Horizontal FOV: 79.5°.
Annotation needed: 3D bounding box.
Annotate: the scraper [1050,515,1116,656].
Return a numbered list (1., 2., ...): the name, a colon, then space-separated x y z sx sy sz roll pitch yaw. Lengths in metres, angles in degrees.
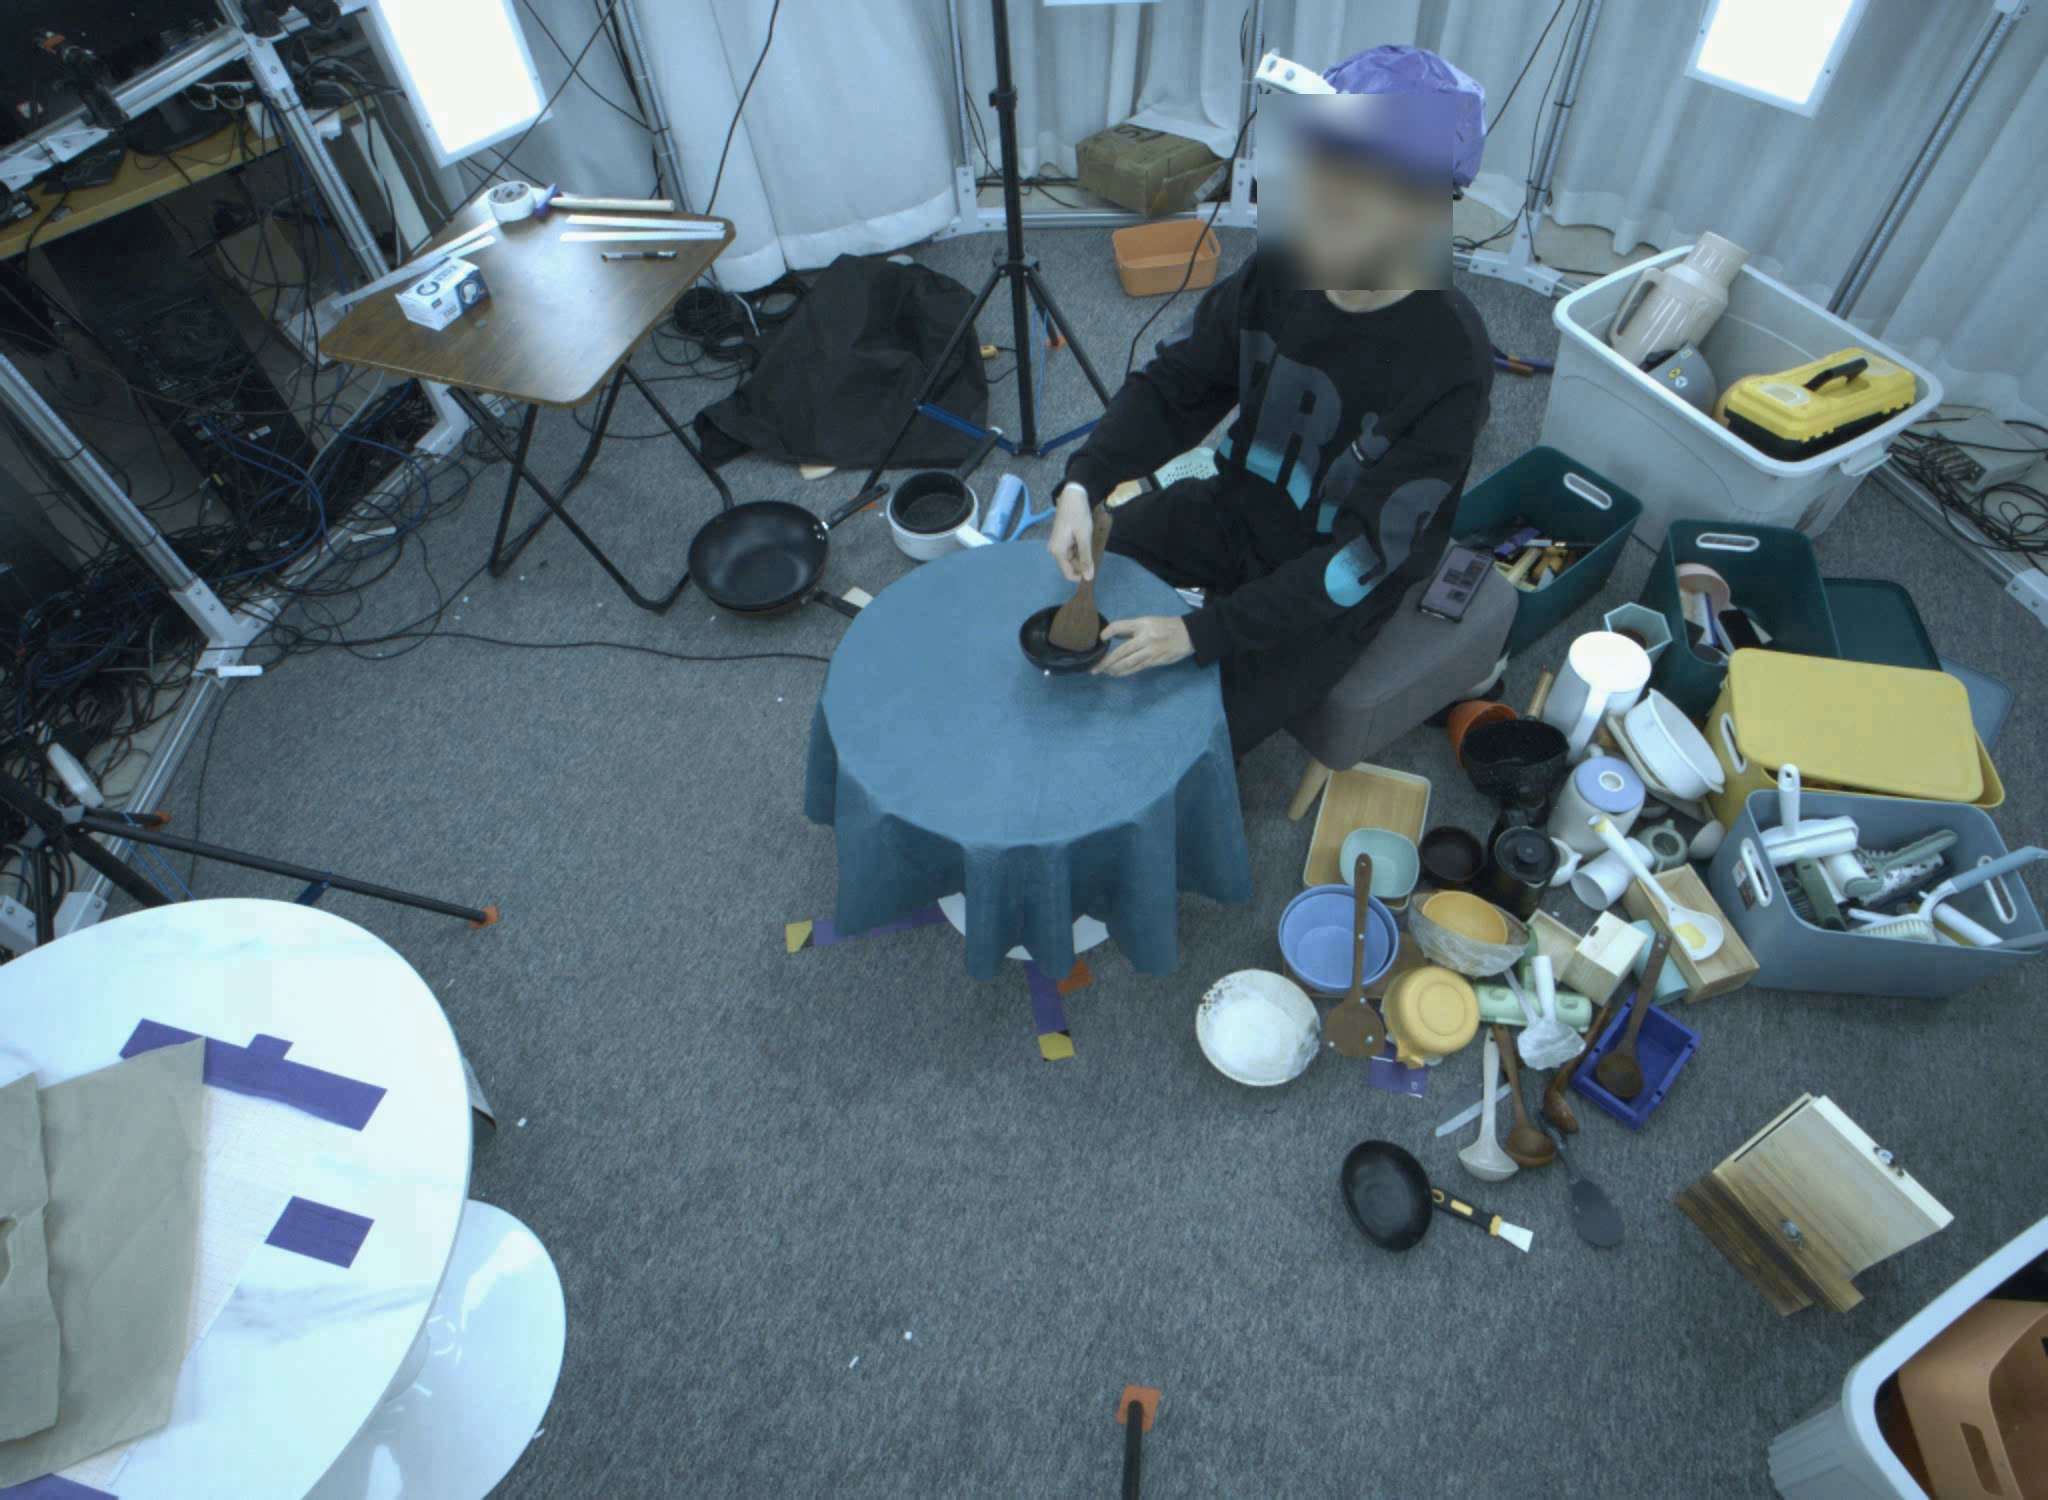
1. scraper: 0.098 -0.246 1.835 0.075 0.011 0.211 17 101 10

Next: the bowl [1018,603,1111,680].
1. bowl: 0.063 -0.152 1.830 0.139 0.050 0.138 -4 54 7
